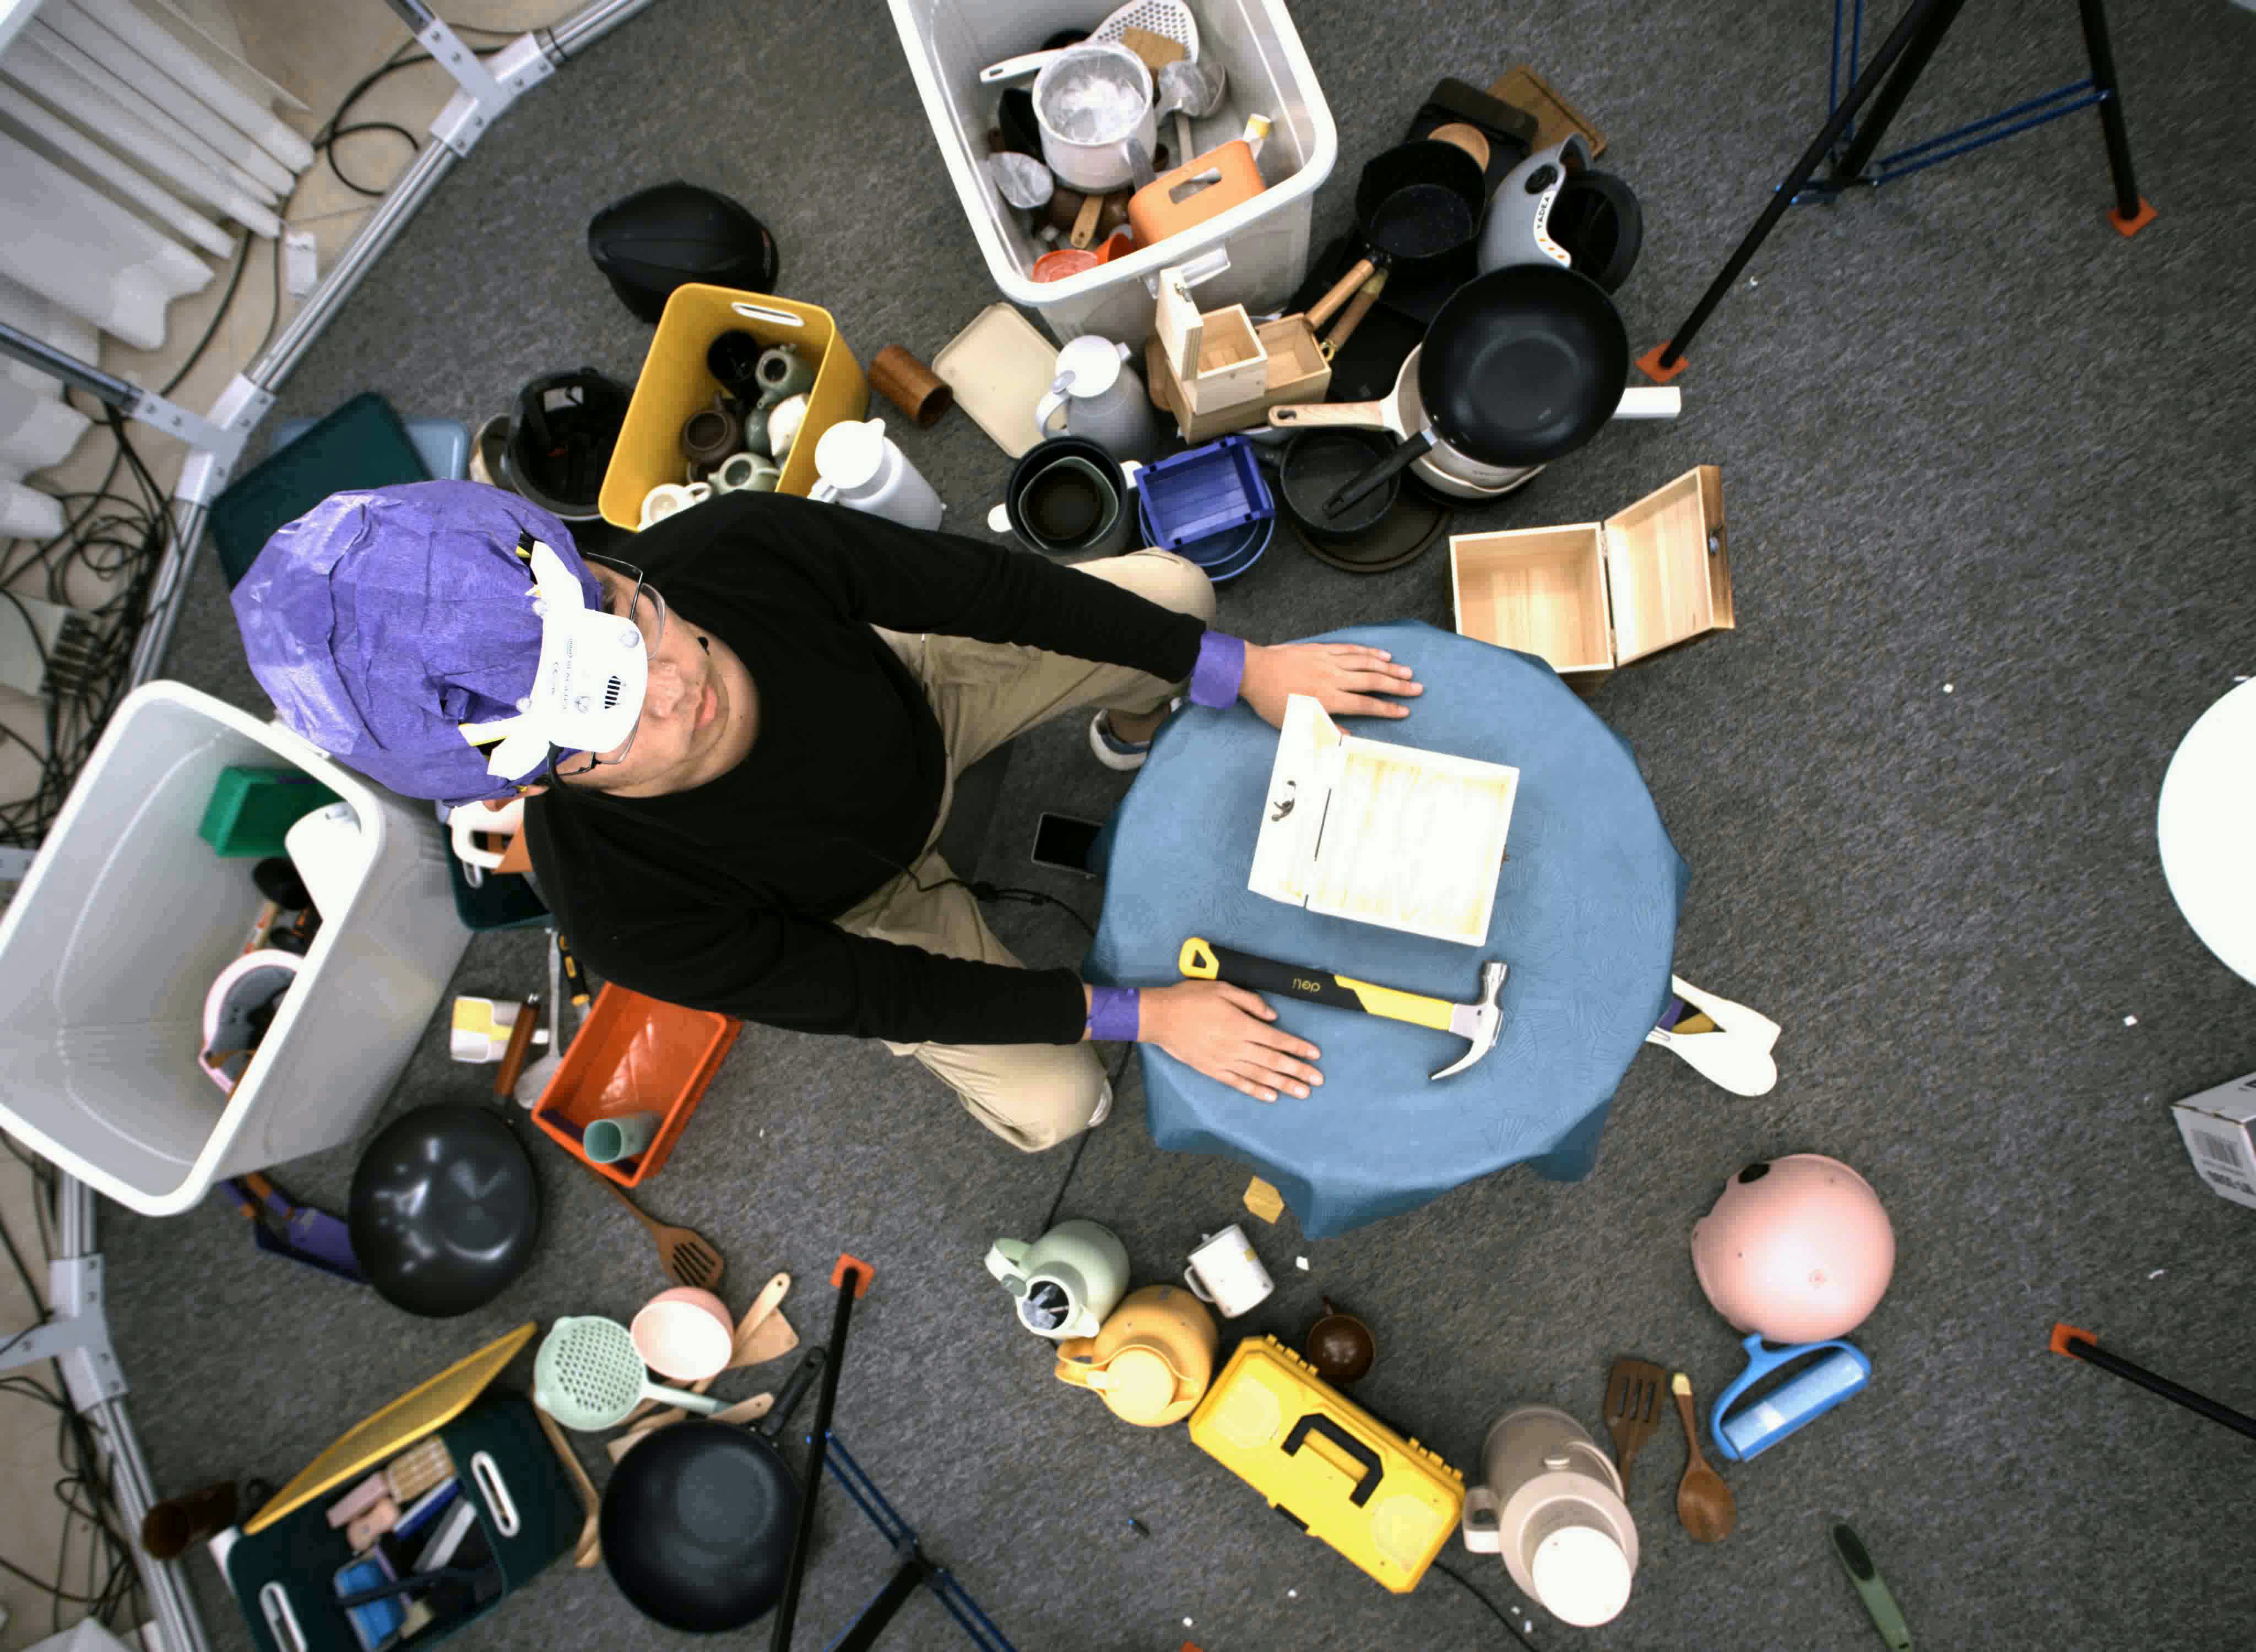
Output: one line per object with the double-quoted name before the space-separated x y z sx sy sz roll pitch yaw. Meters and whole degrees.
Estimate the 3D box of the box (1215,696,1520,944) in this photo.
"box" 0.245 0.001 1.343 0.265 0.253 0.181 11 89 11

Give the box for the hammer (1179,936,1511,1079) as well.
"hammer" 0.219 0.170 1.447 0.339 0.032 0.131 13 89 10
